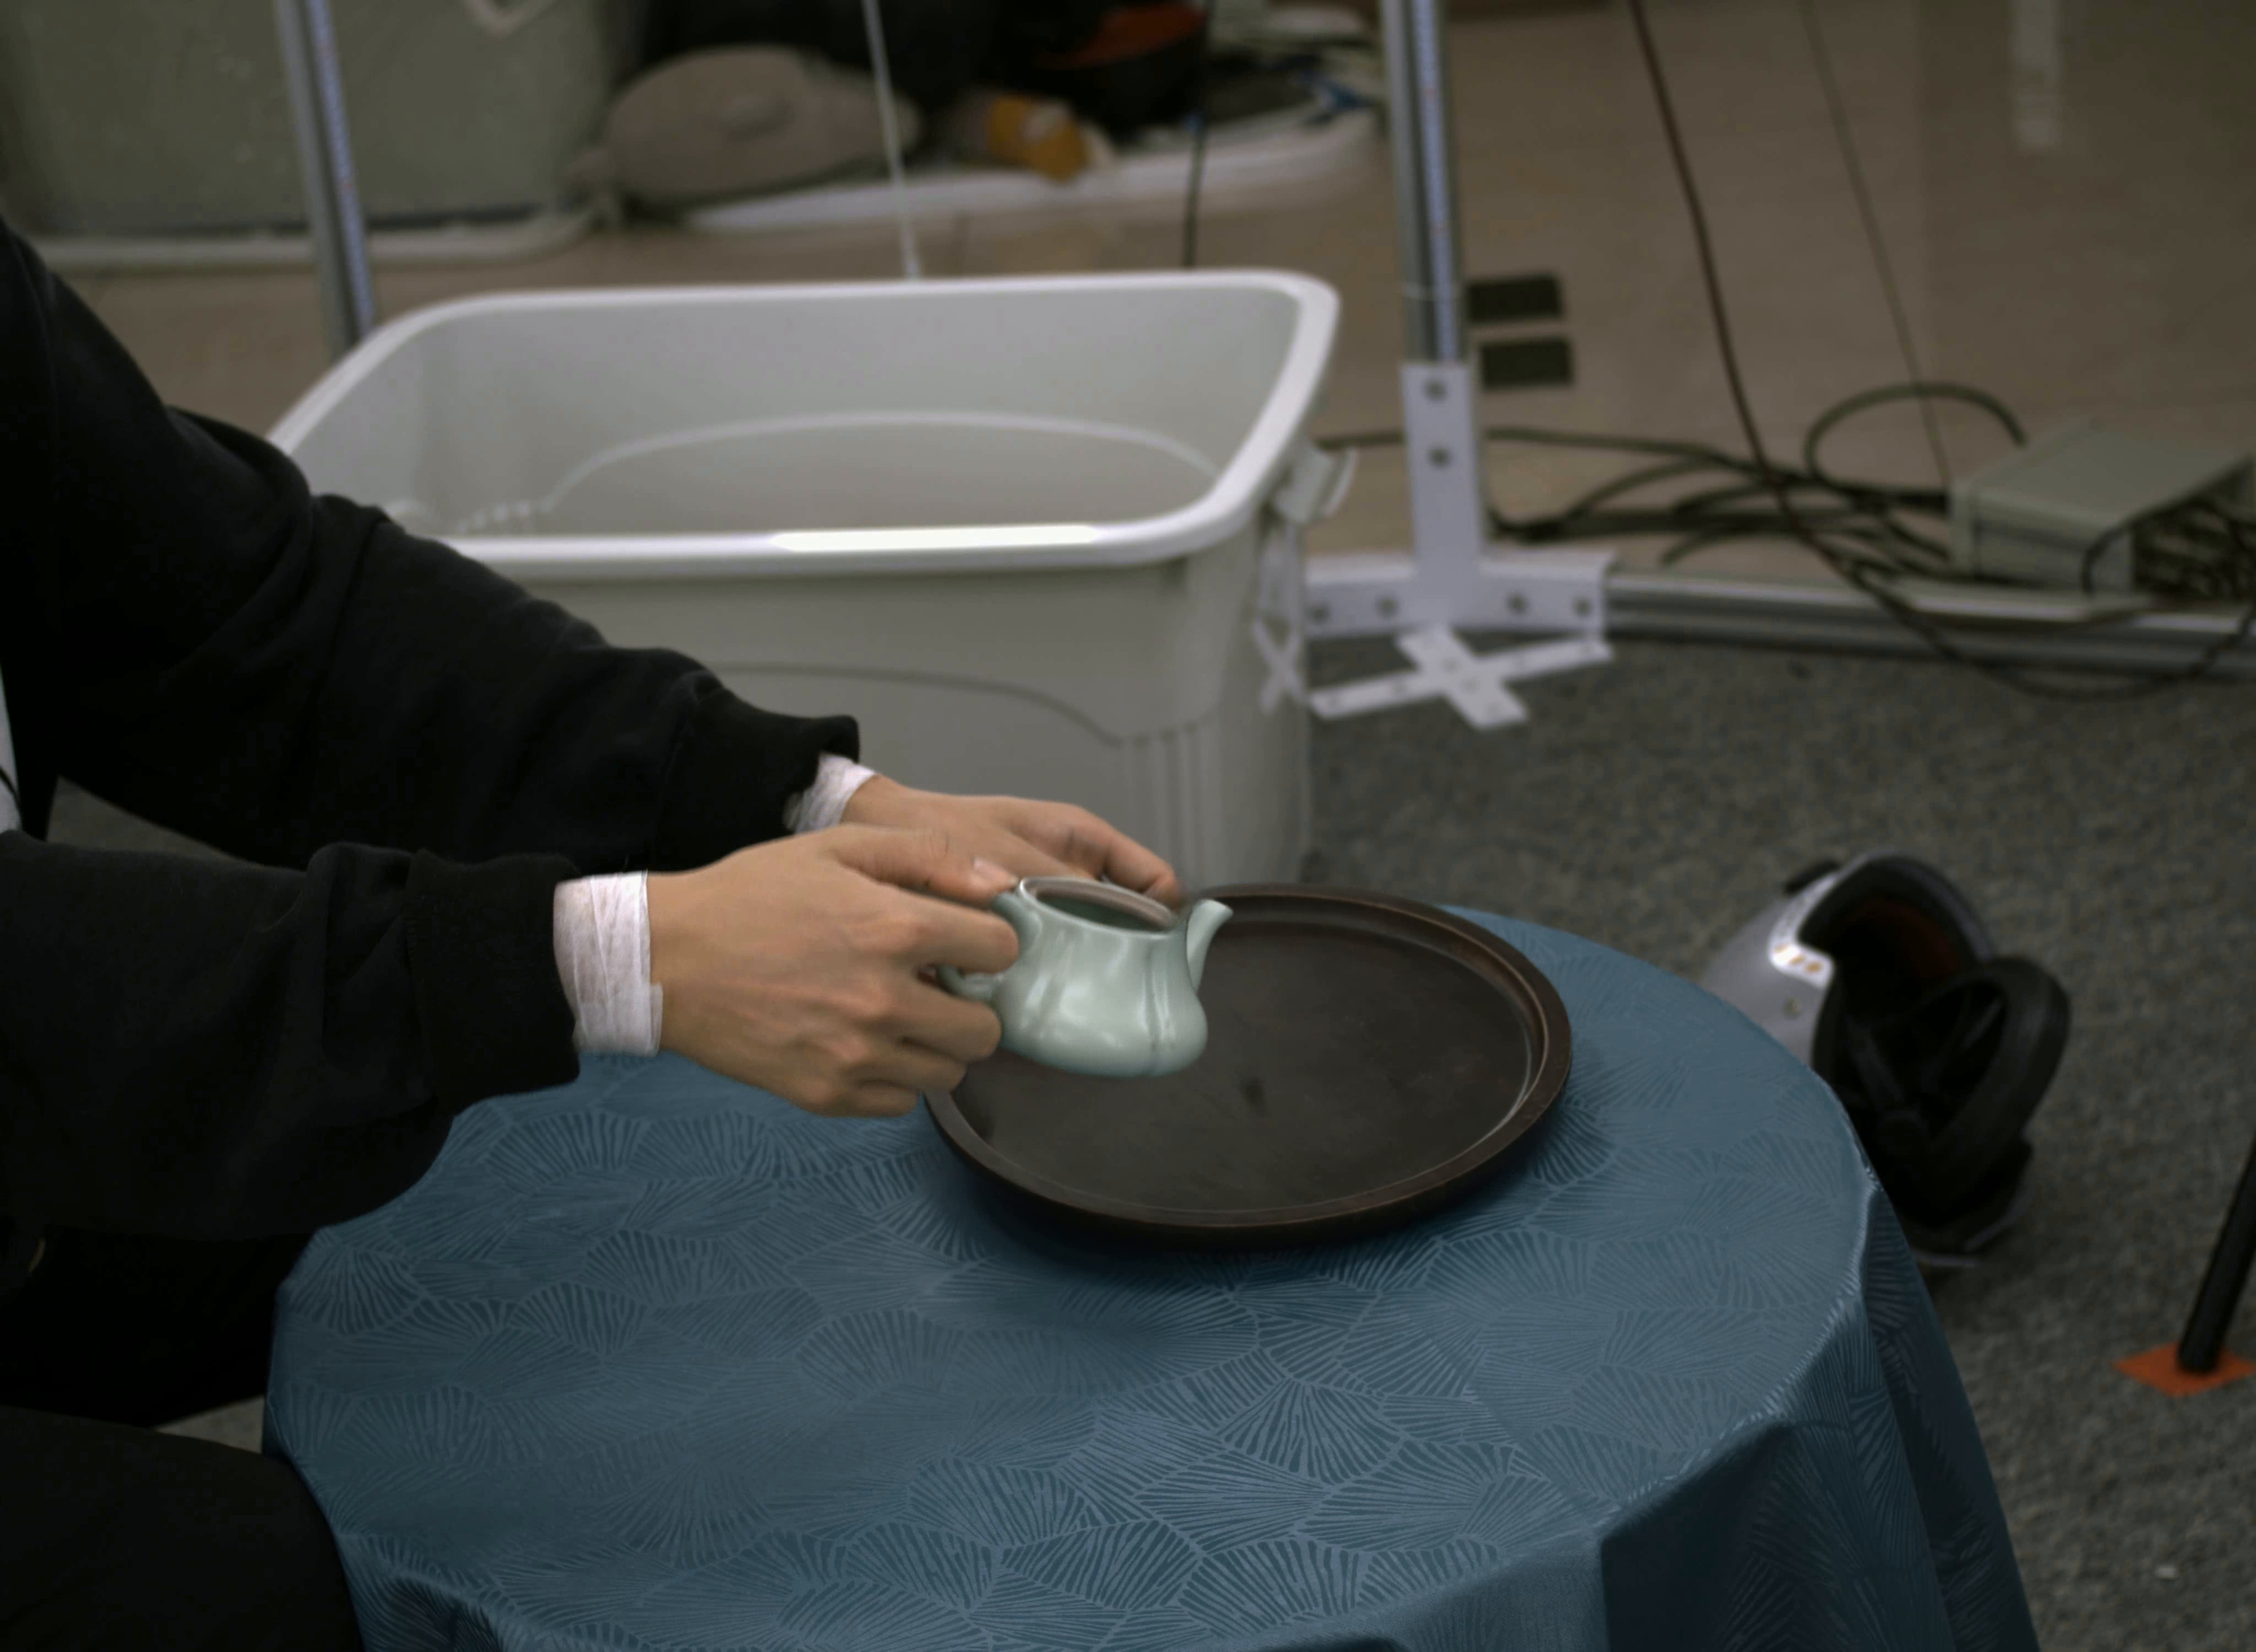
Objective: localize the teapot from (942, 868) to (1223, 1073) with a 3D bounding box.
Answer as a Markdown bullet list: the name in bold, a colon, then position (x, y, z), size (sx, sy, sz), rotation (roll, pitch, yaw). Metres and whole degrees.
- **teapot**: position (-0.019, 0.050, 2.017), size (0.095, 0.062, 0.137), rotation (28, 17, 40)

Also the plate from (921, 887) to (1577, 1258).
- **plate**: position (0.046, 0.093, 2.185), size (0.254, 0.029, 0.250), rotation (-2, 31, 1)
